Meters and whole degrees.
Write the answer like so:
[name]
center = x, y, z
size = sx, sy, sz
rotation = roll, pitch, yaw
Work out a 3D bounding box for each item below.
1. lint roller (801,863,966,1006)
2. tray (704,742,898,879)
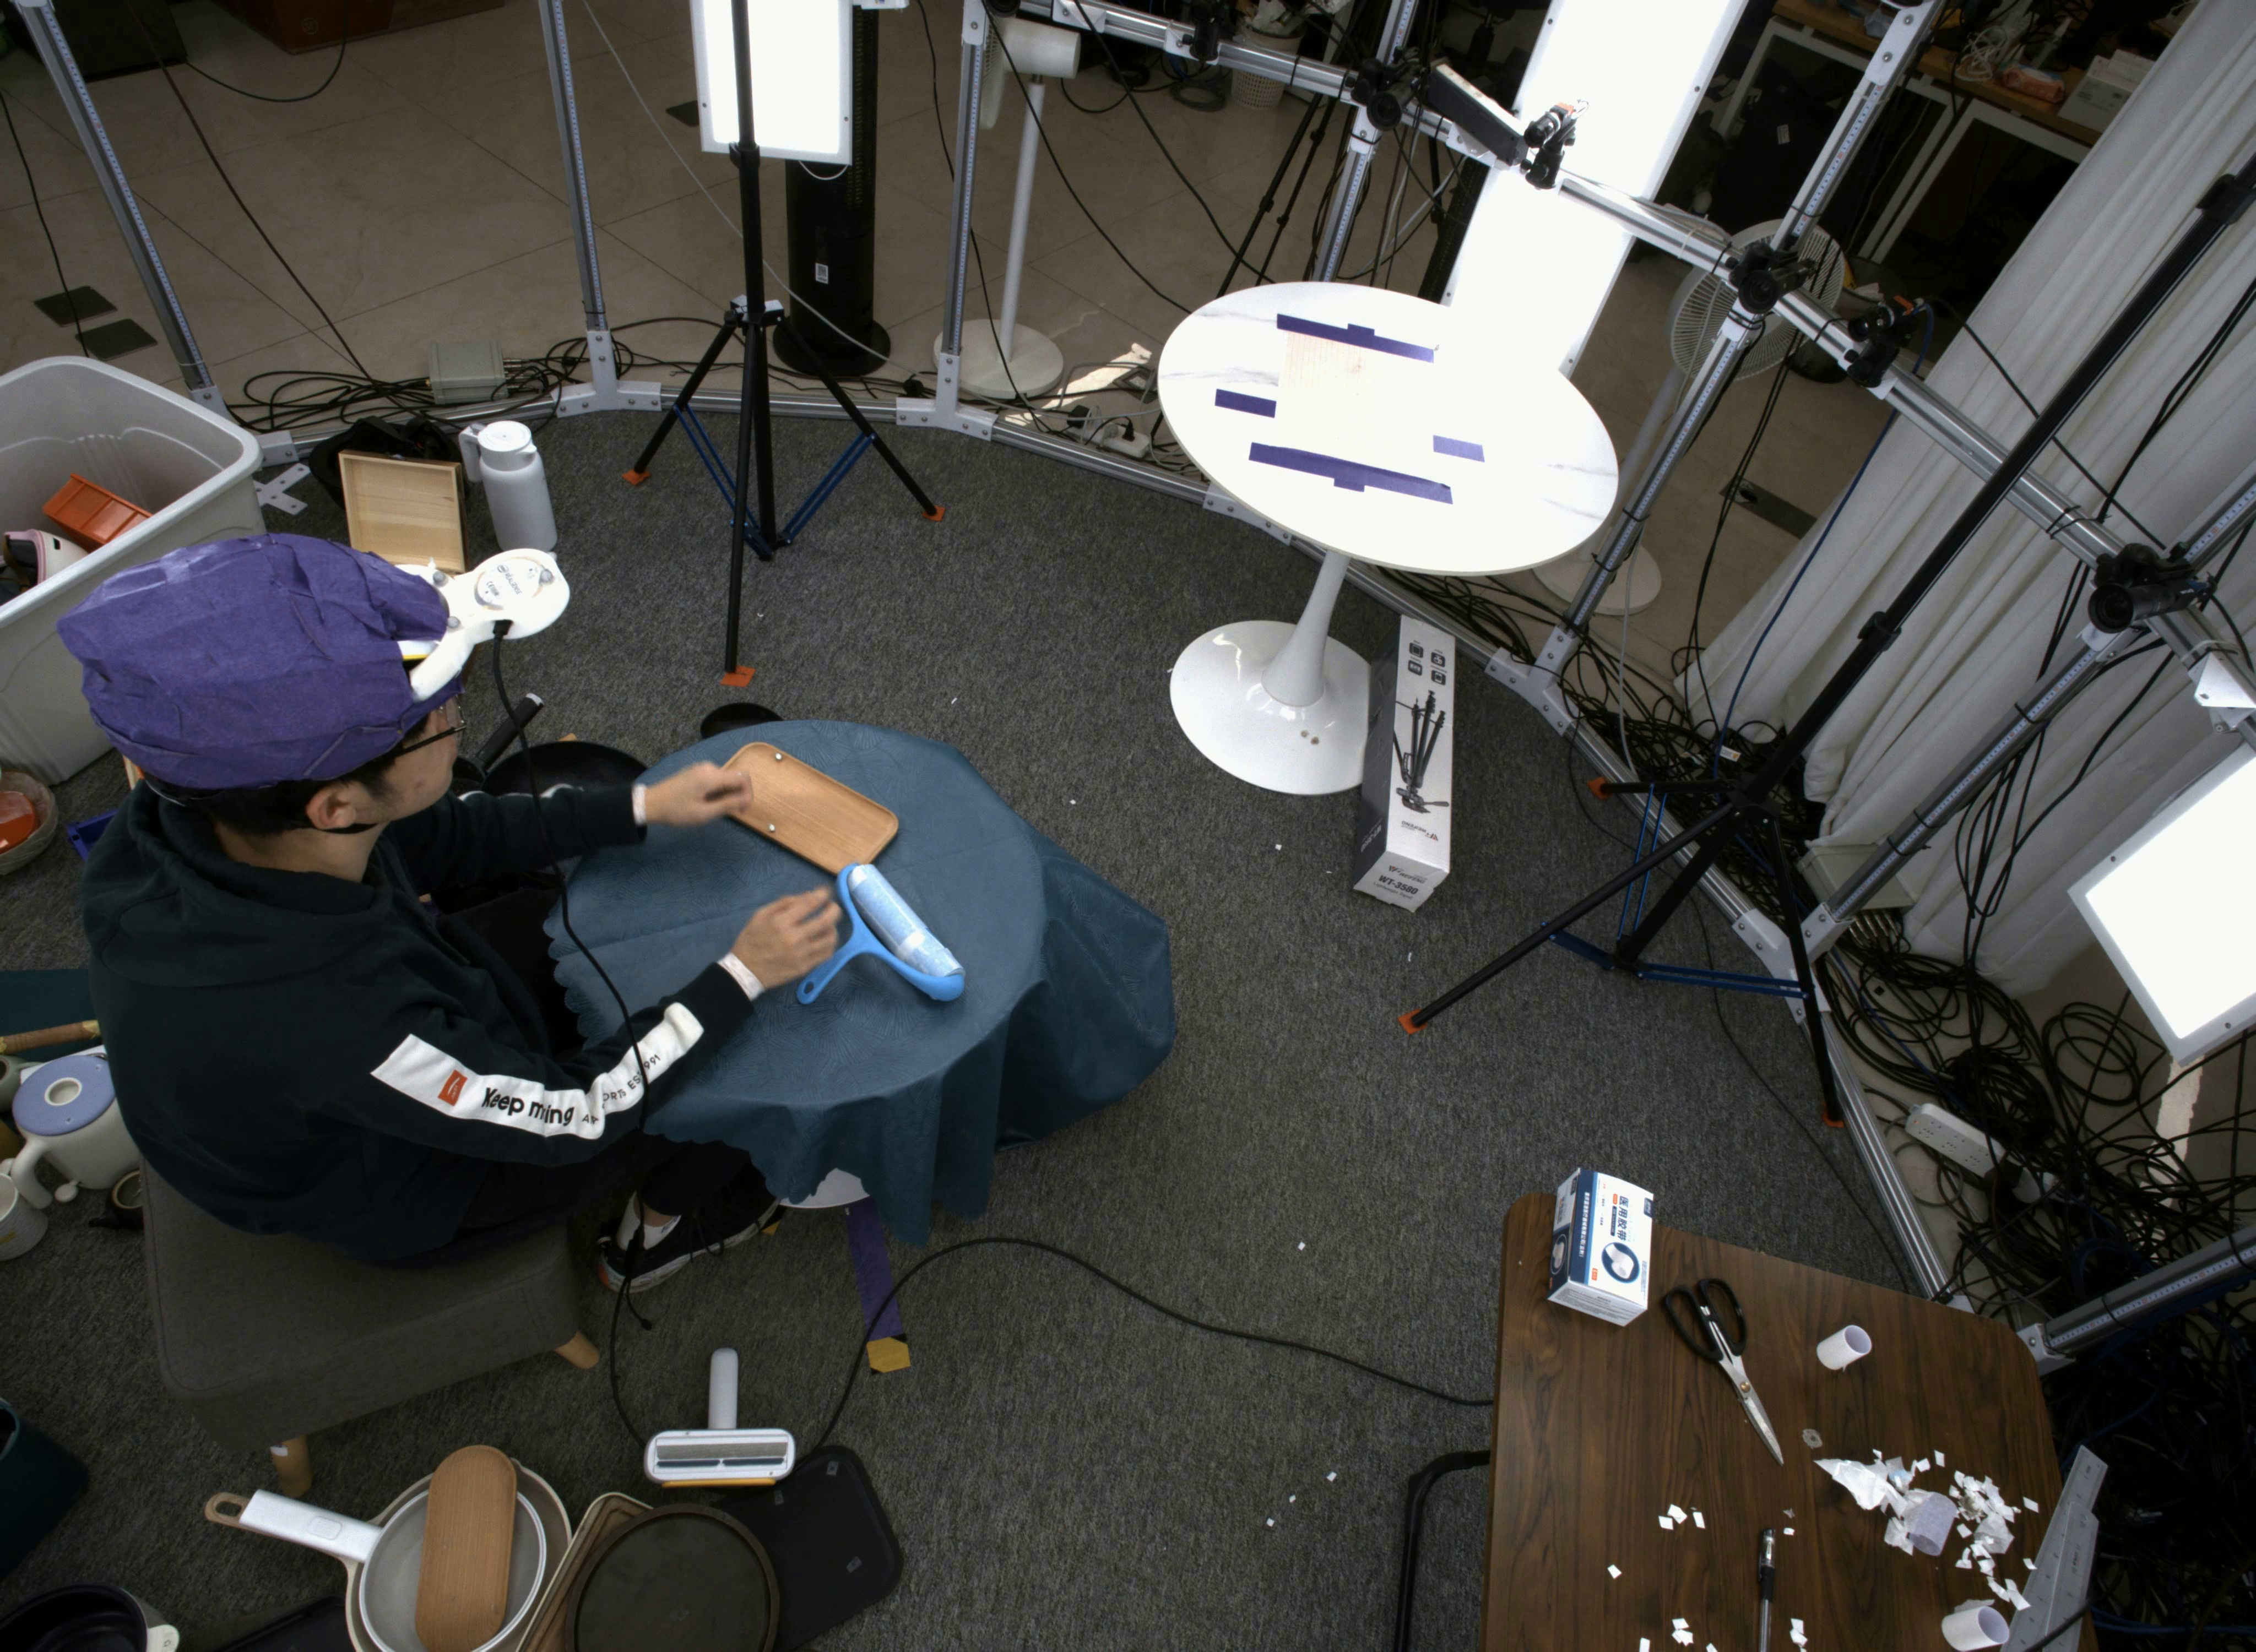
[lint roller]
center = -0.325, 0.155, 1.605
size = 0.224, 0.069, 0.181
rotation = 44, 55, 16
[tray]
center = -0.436, -0.022, 1.732
size = 0.247, 0.023, 0.130
rotation = 29, 55, 7
